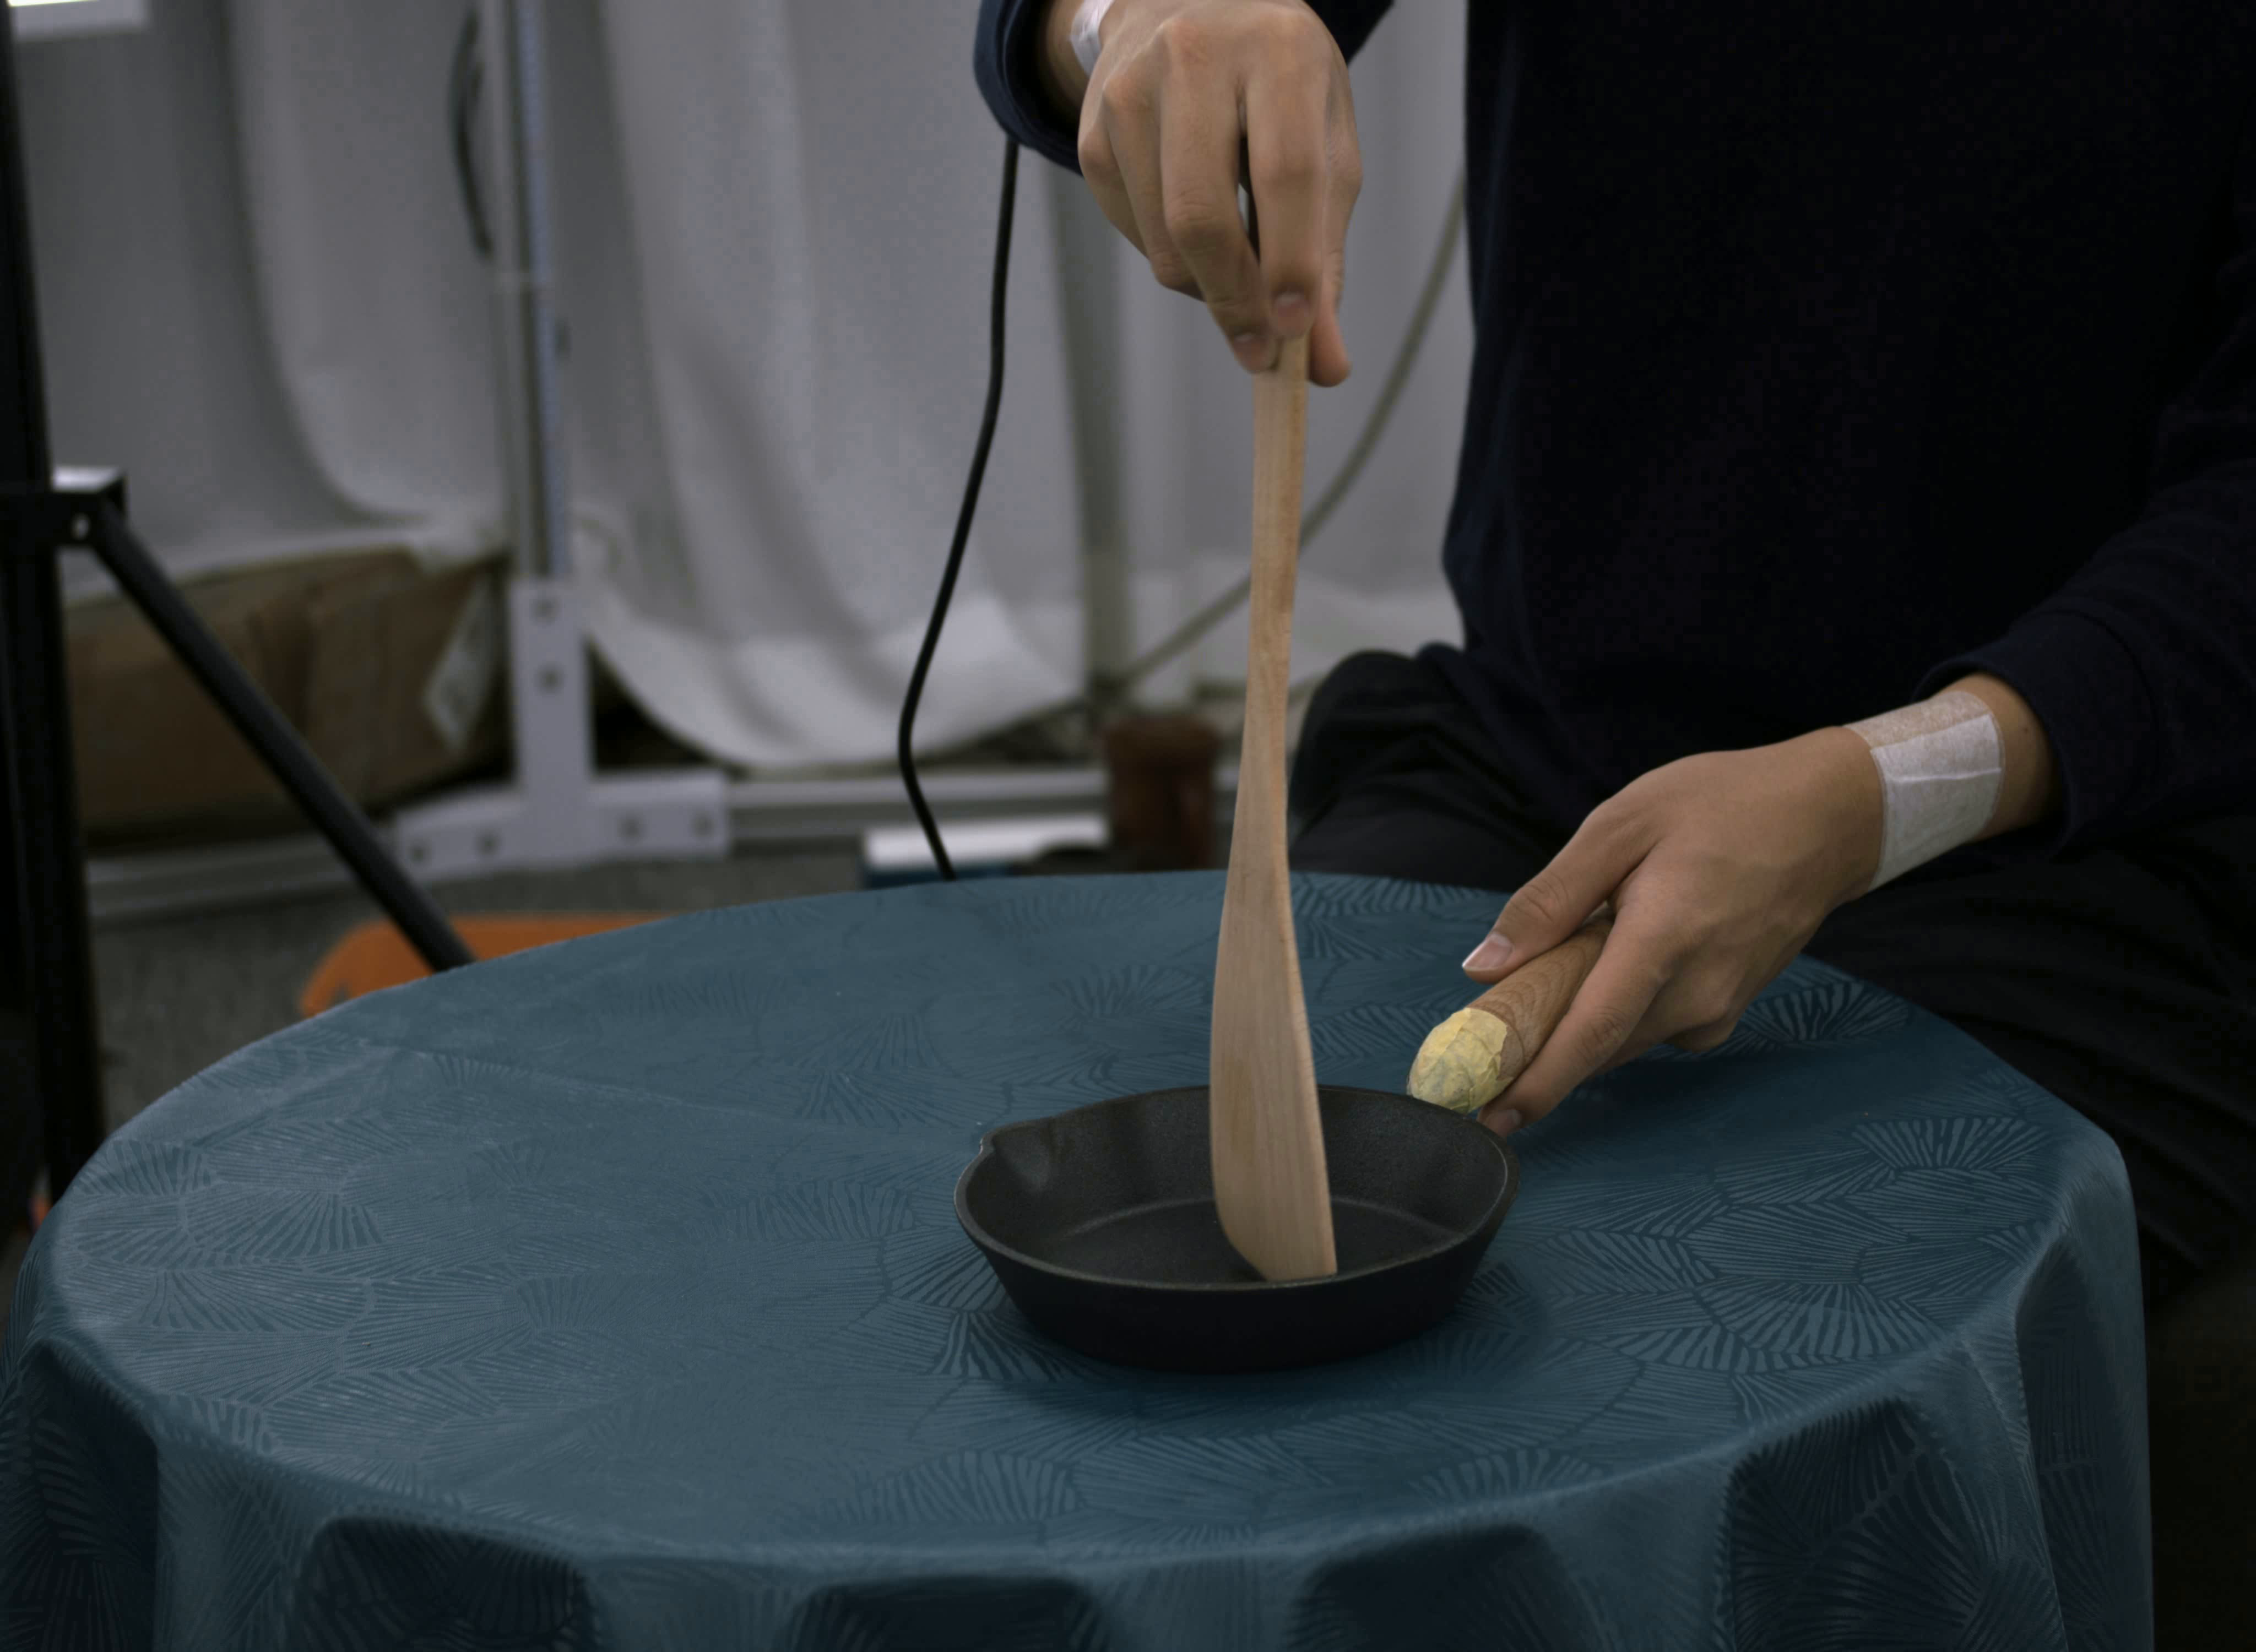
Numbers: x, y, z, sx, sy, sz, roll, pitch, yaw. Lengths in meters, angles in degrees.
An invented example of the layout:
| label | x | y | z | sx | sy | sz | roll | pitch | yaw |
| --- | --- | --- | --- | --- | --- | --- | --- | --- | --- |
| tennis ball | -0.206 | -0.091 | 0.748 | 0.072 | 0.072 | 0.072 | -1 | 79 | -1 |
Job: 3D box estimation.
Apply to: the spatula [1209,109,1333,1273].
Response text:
| label | x | y | z | sx | sy | sz | roll | pitch | yaw |
| --- | --- | --- | --- | --- | --- | --- | --- | --- | --- |
| spatula | 0.041 | -0.027 | 1.438 | 0.016 | 0.329 | 0.081 | -1 | 6 | -21 |

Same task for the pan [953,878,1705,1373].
| label | x | y | z | sx | sy | sz | roll | pitch | yaw |
| --- | --- | --- | --- | --- | --- | --- | --- | --- | --- |
| pan | 0.081 | 0.082 | 1.528 | 0.172 | 0.049 | 0.318 | 10 | 23 | 37 |
